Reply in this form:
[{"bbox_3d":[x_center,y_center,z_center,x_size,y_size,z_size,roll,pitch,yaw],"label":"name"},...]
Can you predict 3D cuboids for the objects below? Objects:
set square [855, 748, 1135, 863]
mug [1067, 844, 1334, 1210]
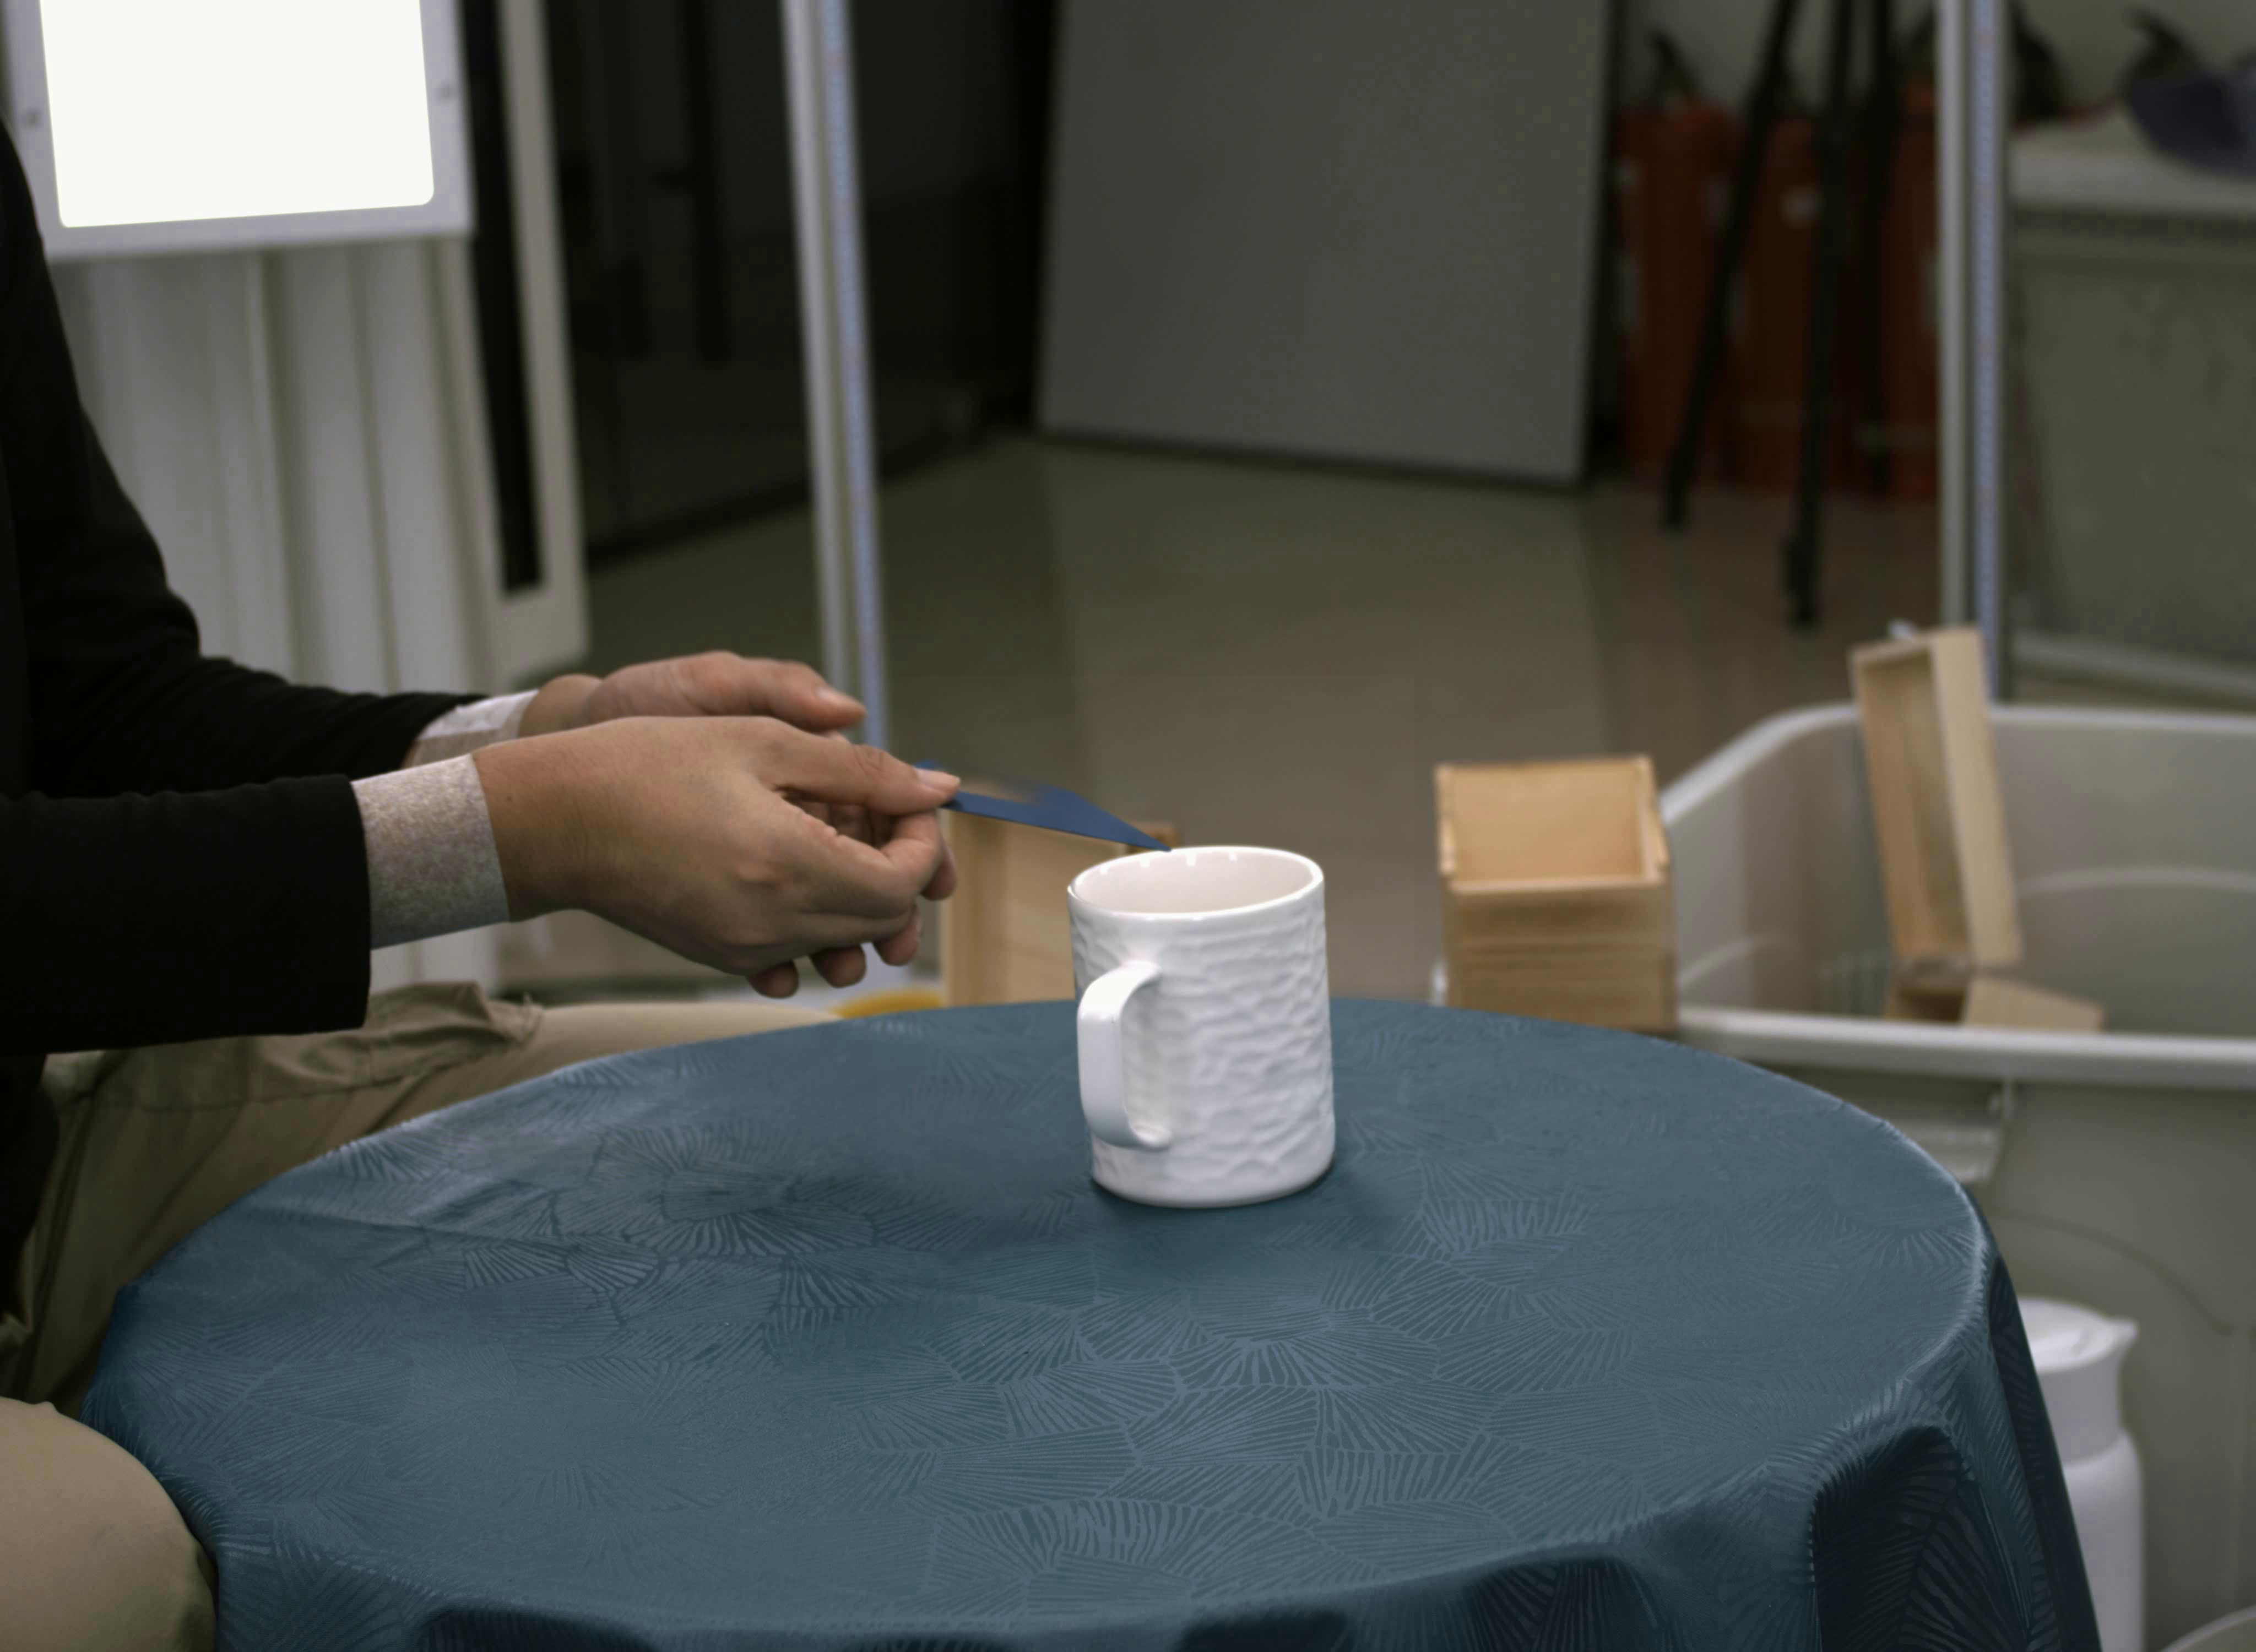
[{"bbox_3d":[-0.047,-0.006,1.748,0.060,0.006,0.133,-6,19,-23],"label":"set square"},{"bbox_3d":[0.018,0.070,1.758,0.085,0.103,0.116,4,15,28],"label":"mug"}]
